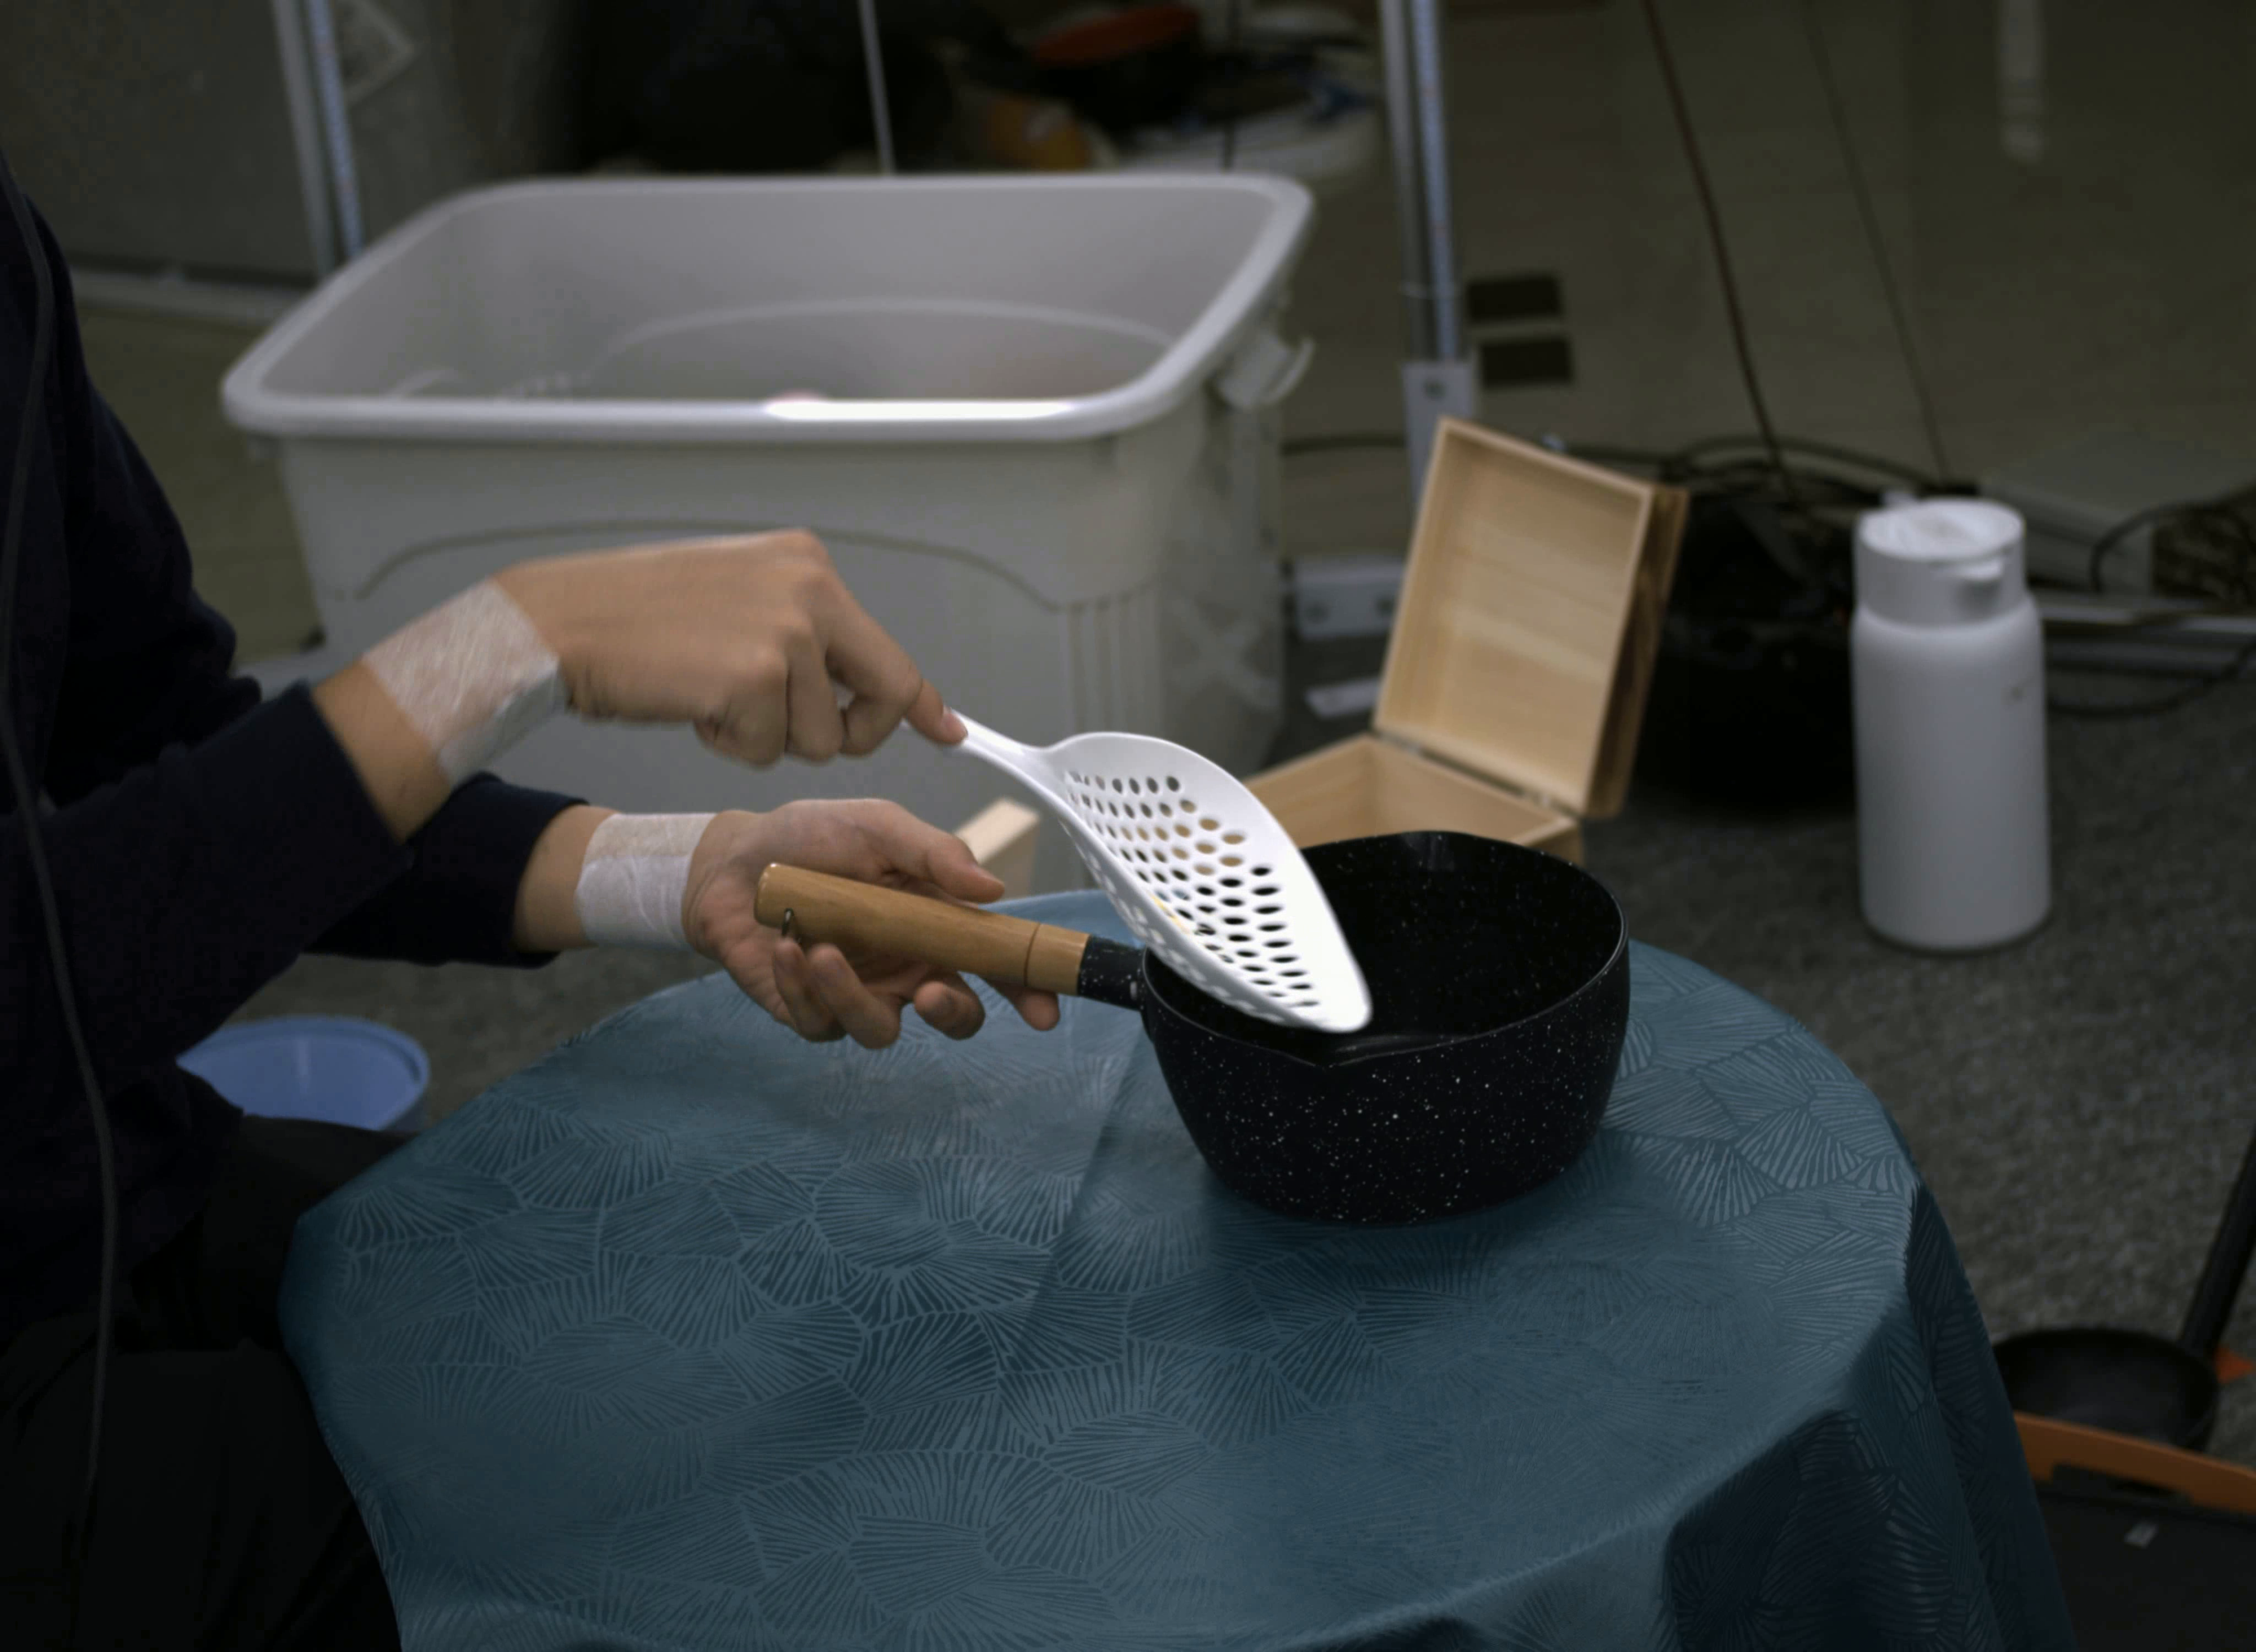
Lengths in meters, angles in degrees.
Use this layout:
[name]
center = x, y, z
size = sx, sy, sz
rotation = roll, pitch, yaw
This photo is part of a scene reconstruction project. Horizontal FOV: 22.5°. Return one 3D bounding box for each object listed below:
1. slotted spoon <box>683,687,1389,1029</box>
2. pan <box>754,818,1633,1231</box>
[slotted spoon]
center = -0.031, -0.005, 2.000
size = 0.050, 0.351, 0.134
rotation = -38, 53, 19
[pan]
center = 0.023, 0.069, 2.163
size = 0.342, 0.110, 0.204
rotation = 2, 27, 14
